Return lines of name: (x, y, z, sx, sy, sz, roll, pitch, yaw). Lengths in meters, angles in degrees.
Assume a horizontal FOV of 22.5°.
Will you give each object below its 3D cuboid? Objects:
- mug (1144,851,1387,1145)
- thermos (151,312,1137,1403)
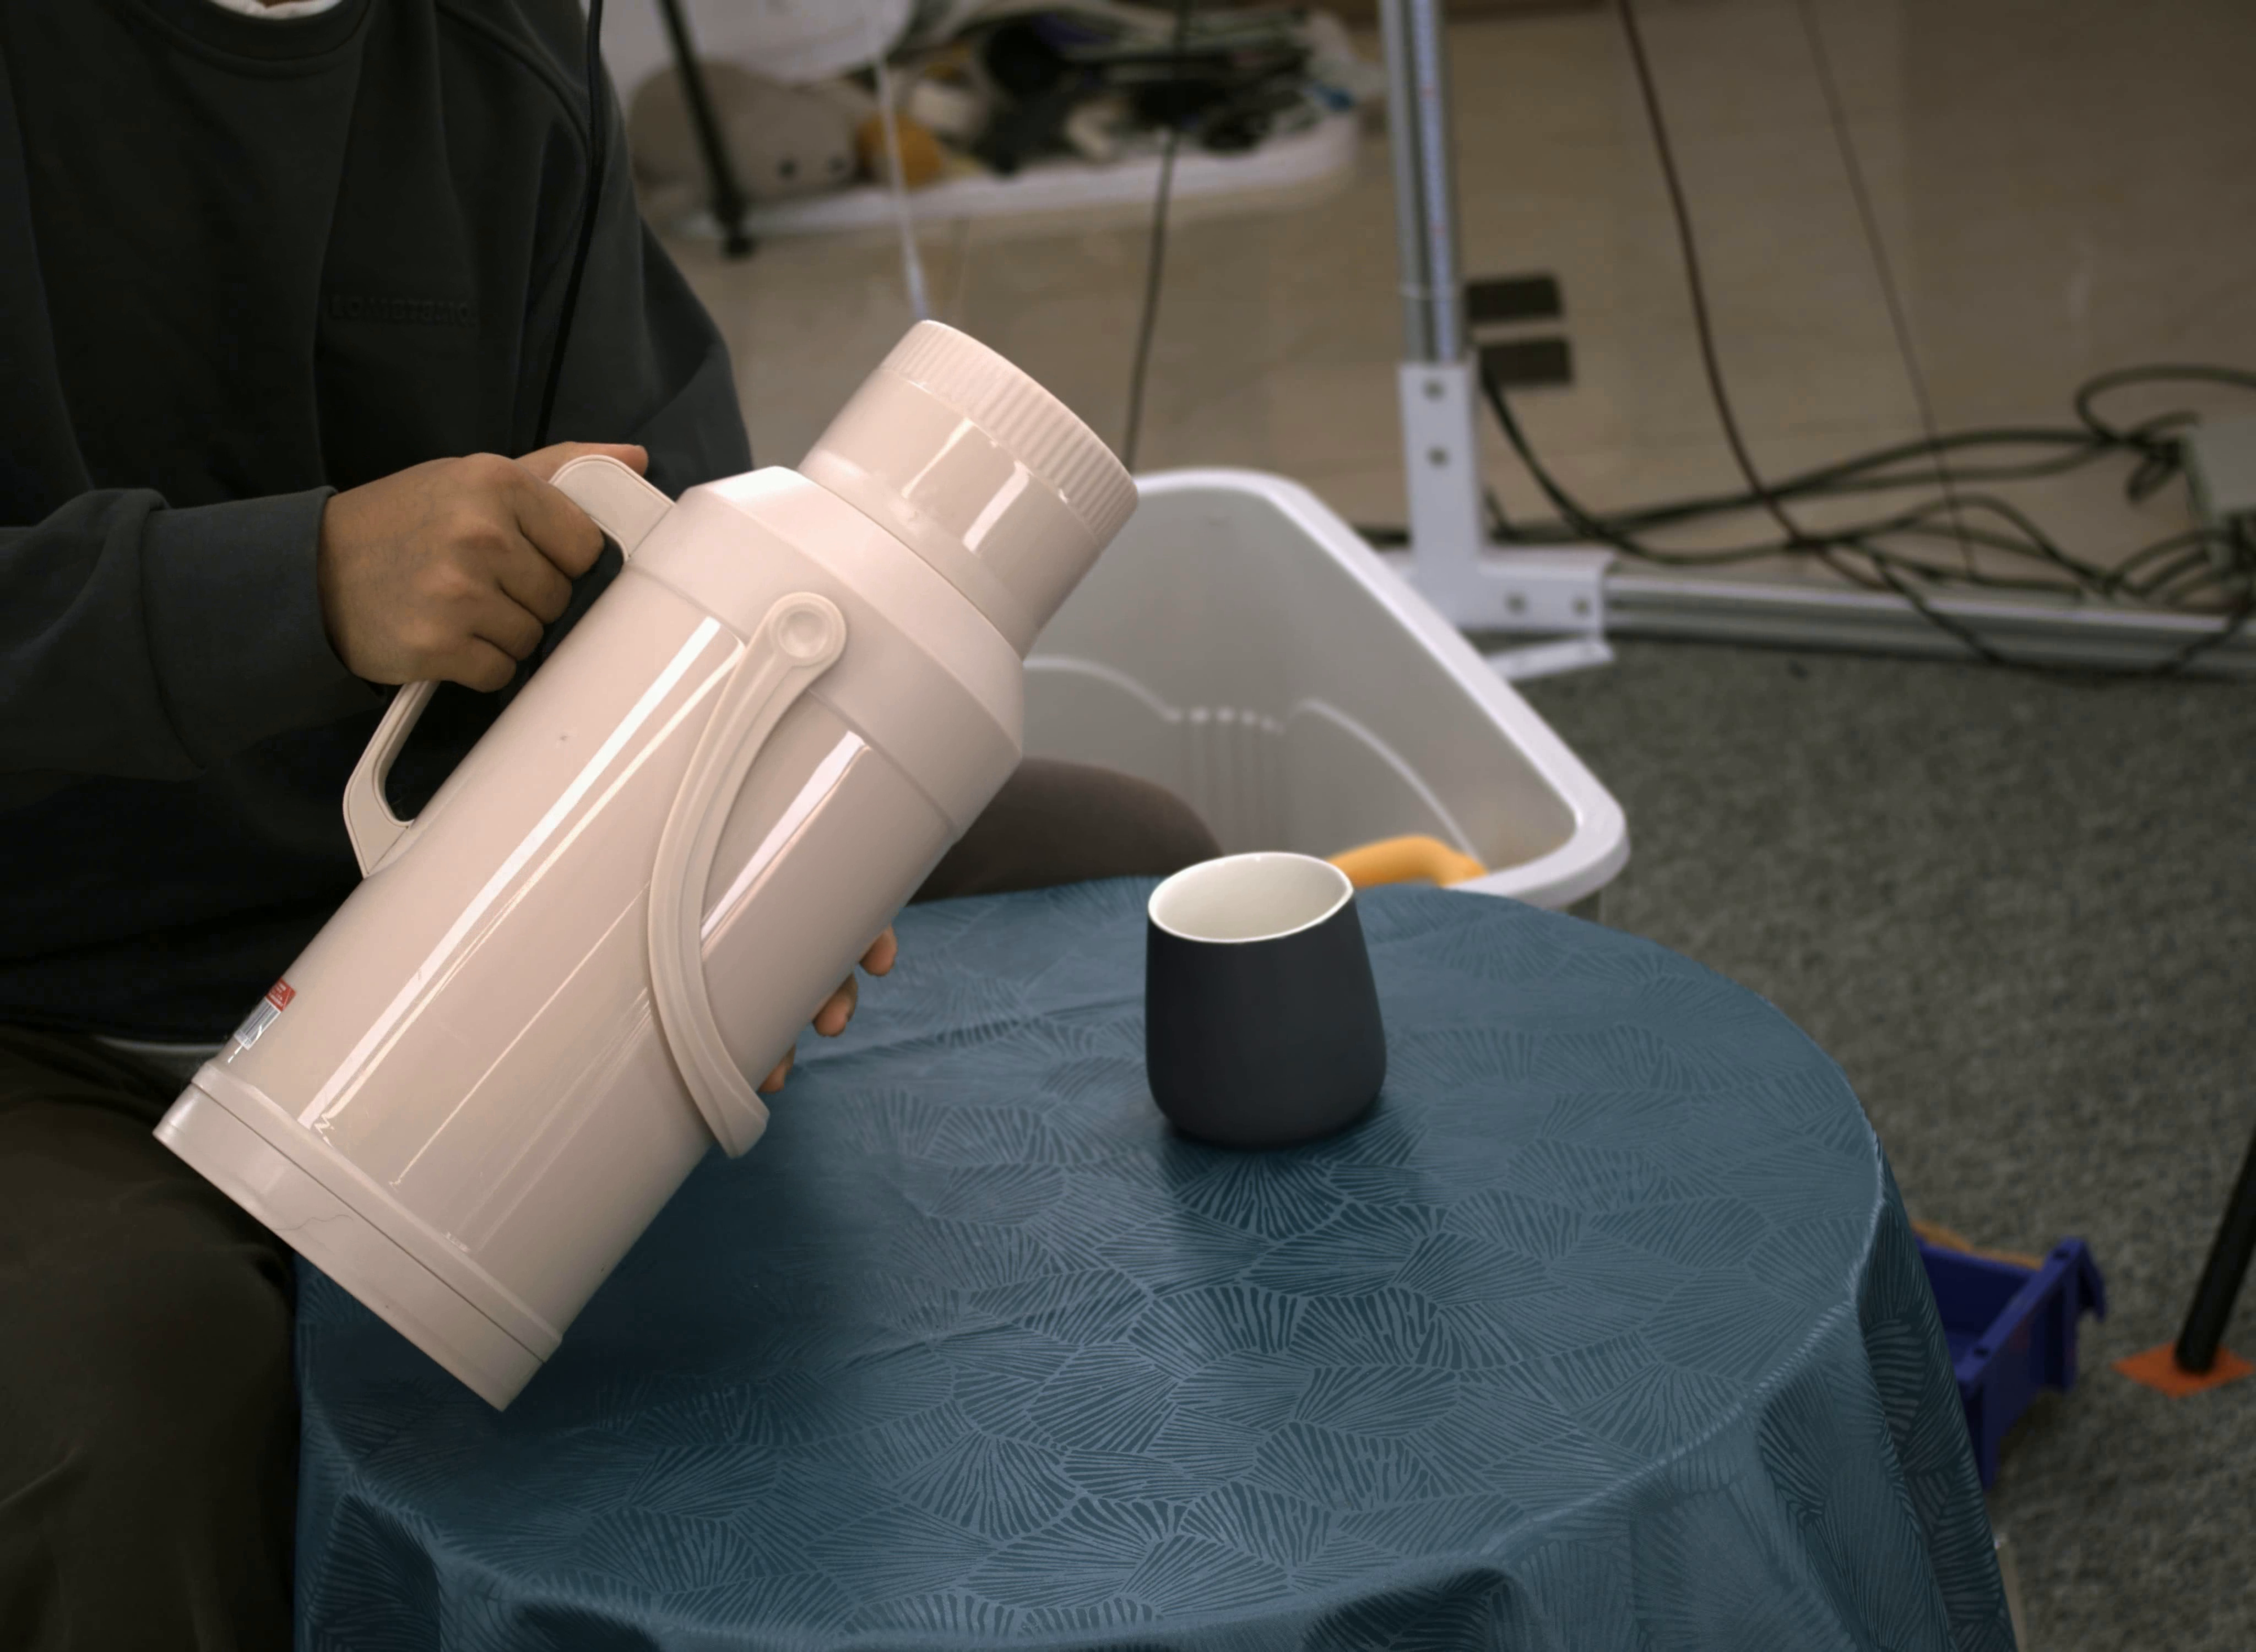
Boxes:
mug: (0.058, 0.061, 2.194, 0.093, 0.091, 0.122, 7, 28, 27)
thermos: (-0.172, -0.007, 2.020, 0.405, 0.207, 0.176, -51, -3, -7)
